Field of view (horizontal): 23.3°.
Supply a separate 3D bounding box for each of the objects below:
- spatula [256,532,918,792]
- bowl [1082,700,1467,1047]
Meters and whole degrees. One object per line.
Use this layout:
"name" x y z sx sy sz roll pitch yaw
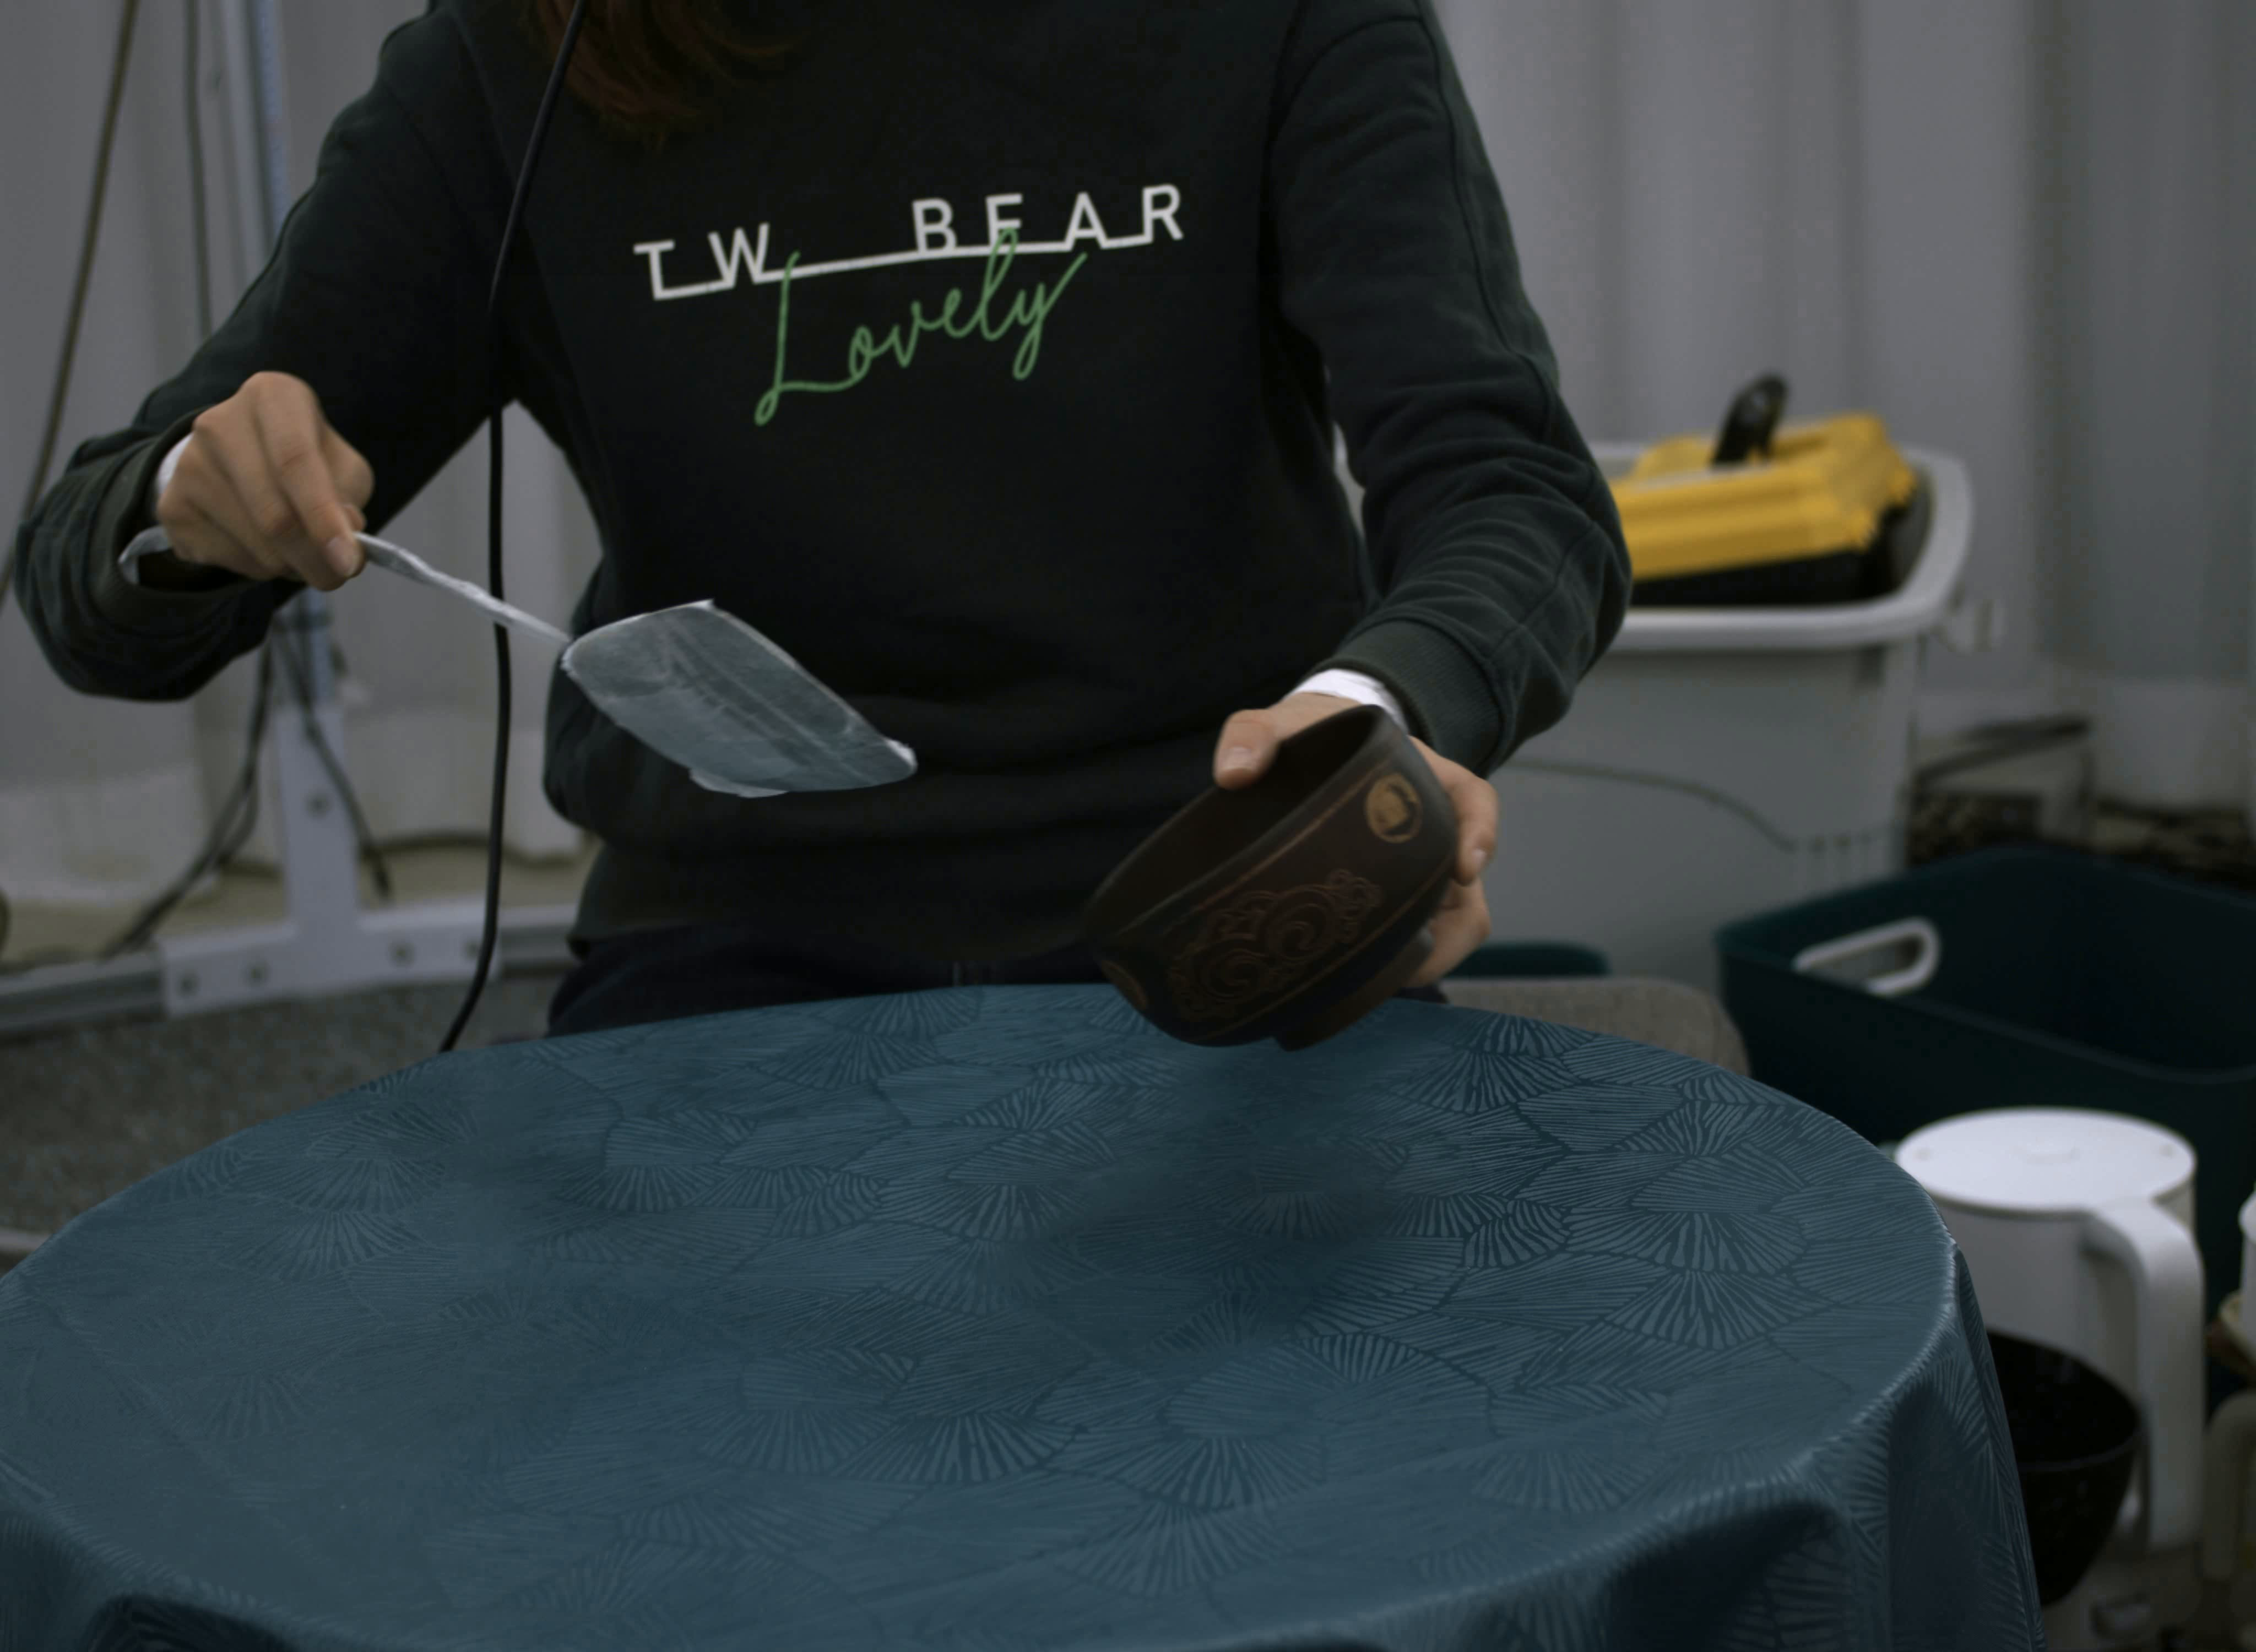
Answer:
"spatula" -0.193 -0.066 1.741 0.097 0.045 0.368 37 -7 -35
"bowl" 0.052 0.023 1.651 0.118 0.069 0.118 -33 10 6
